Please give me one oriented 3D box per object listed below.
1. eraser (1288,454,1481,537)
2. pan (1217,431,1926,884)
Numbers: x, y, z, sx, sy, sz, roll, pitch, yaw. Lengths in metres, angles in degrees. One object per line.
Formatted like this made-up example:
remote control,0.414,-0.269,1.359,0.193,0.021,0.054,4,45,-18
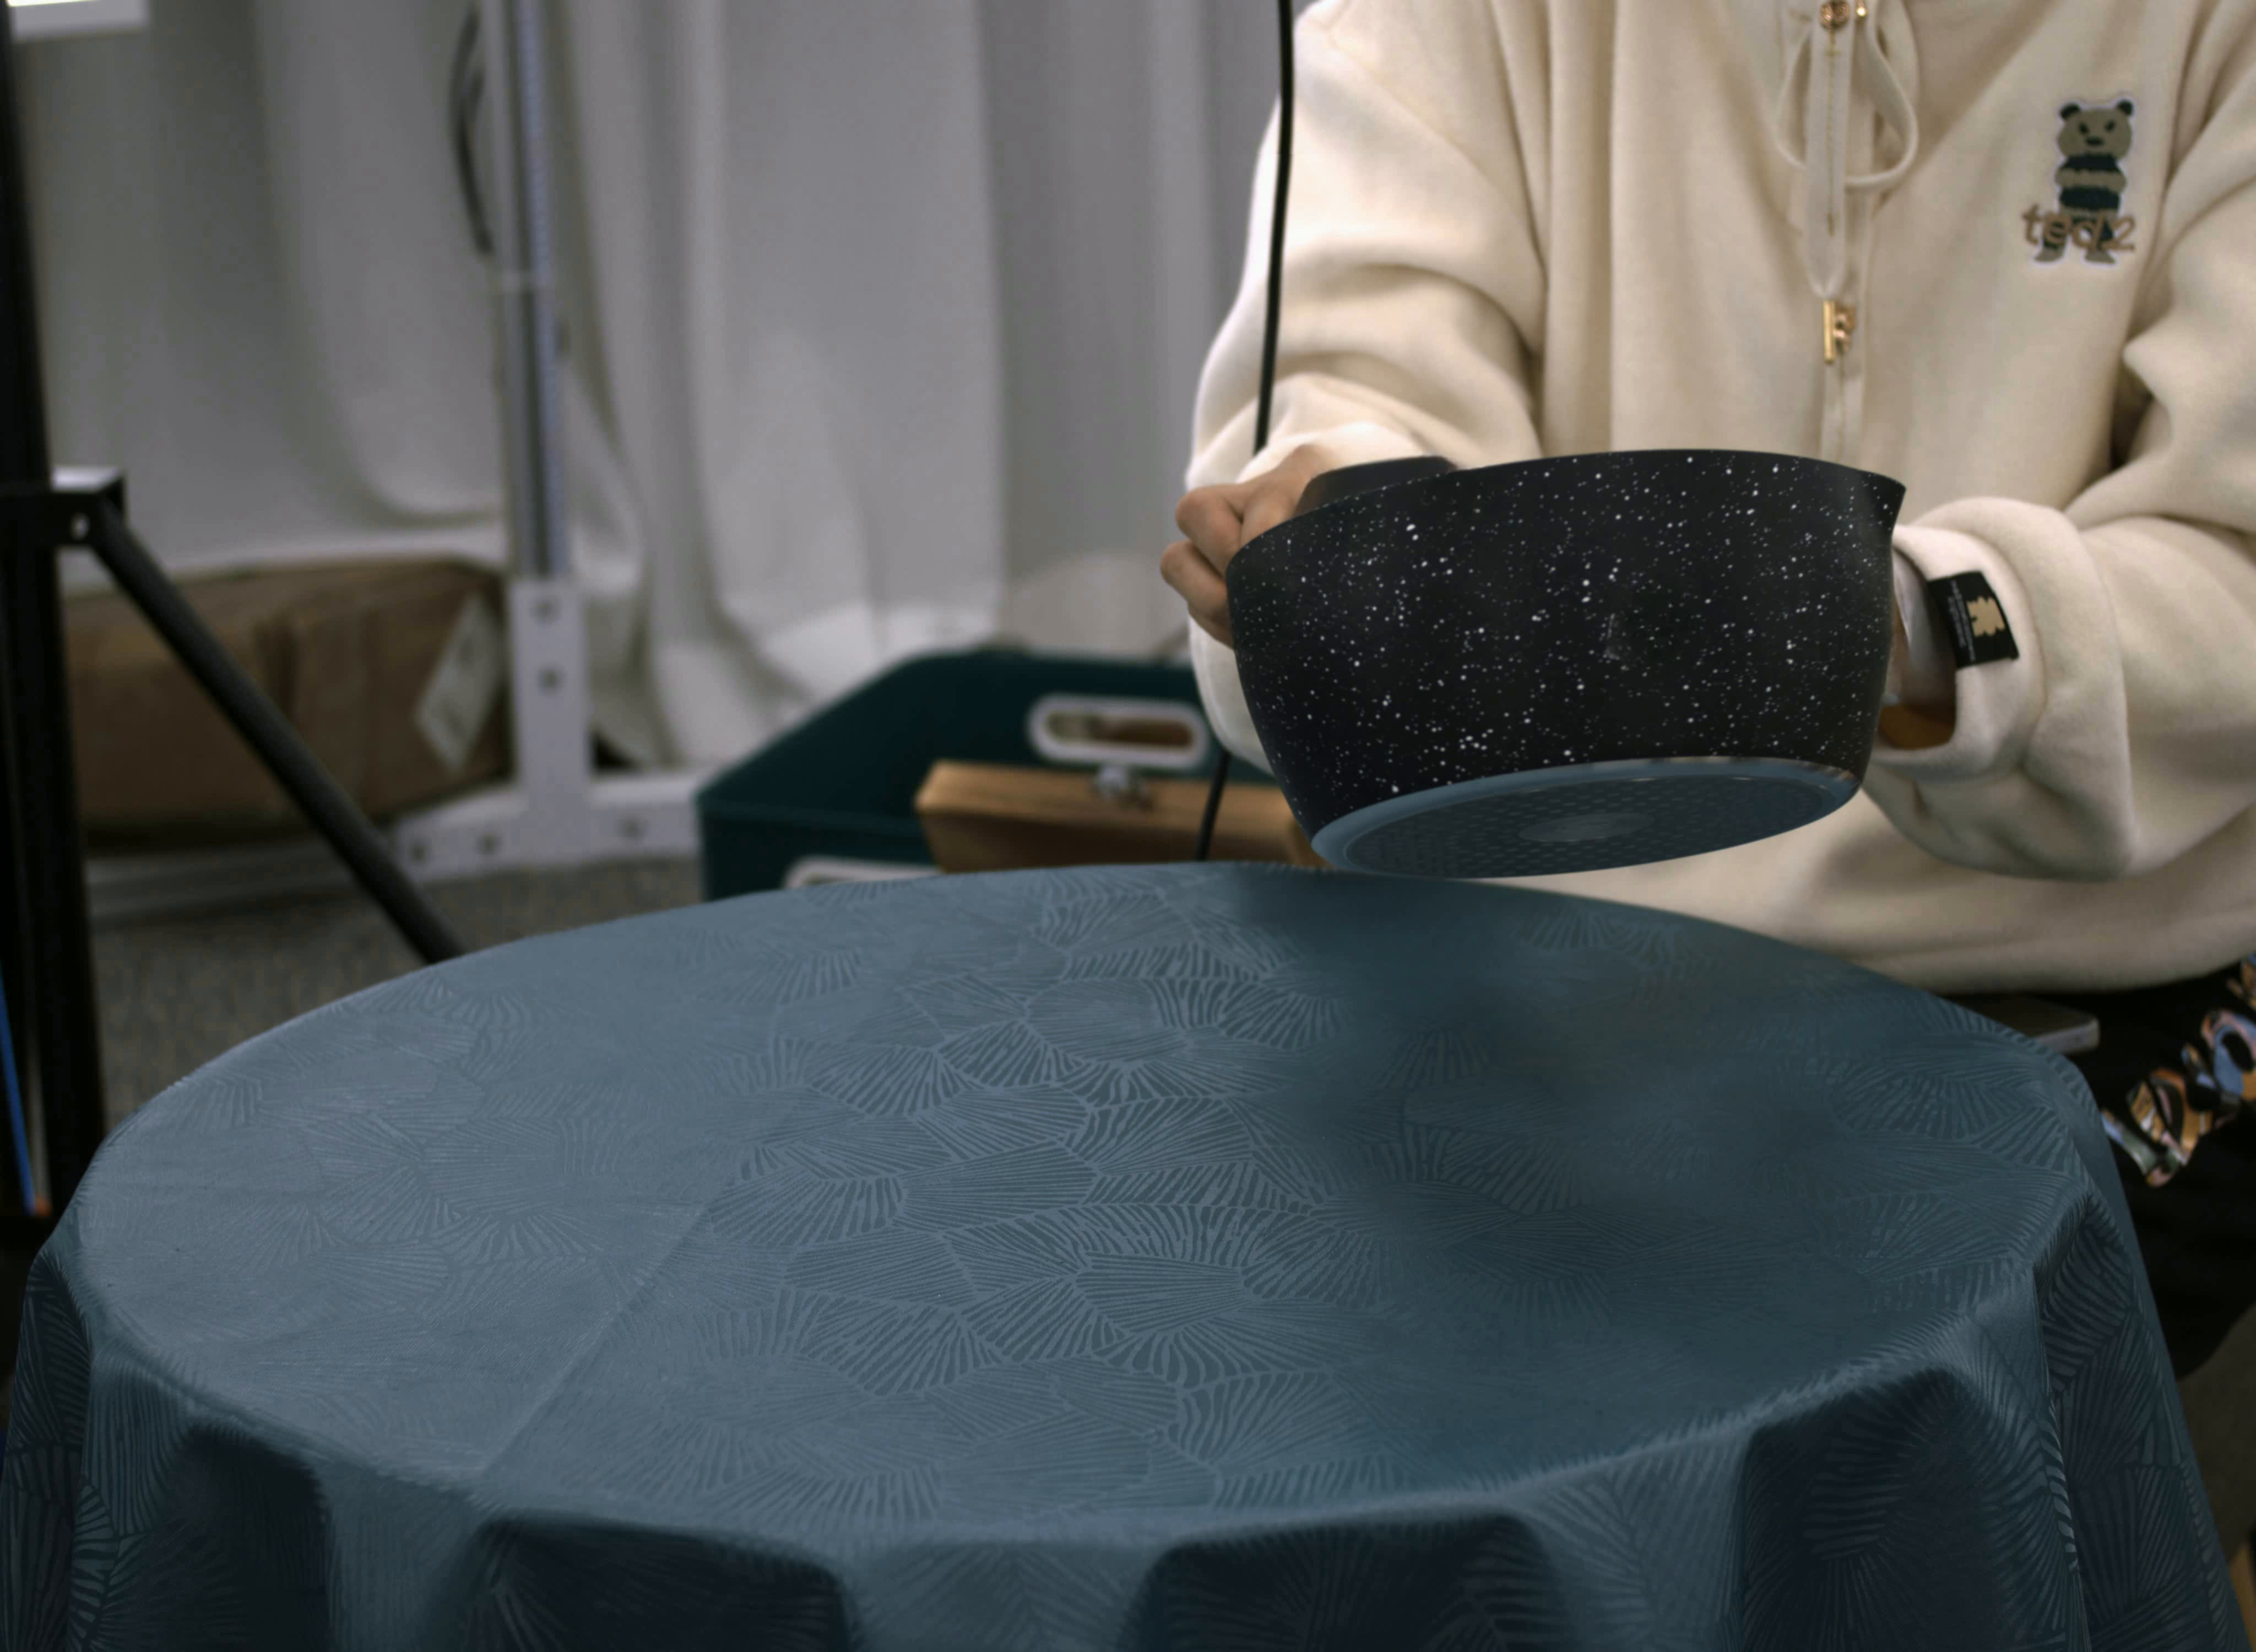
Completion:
eraser,0.076,-0.083,1.615,0.053,0.031,0.125,-7,-10,-5
pan,0.148,-0.039,1.544,0.209,0.109,0.336,-10,-11,18
